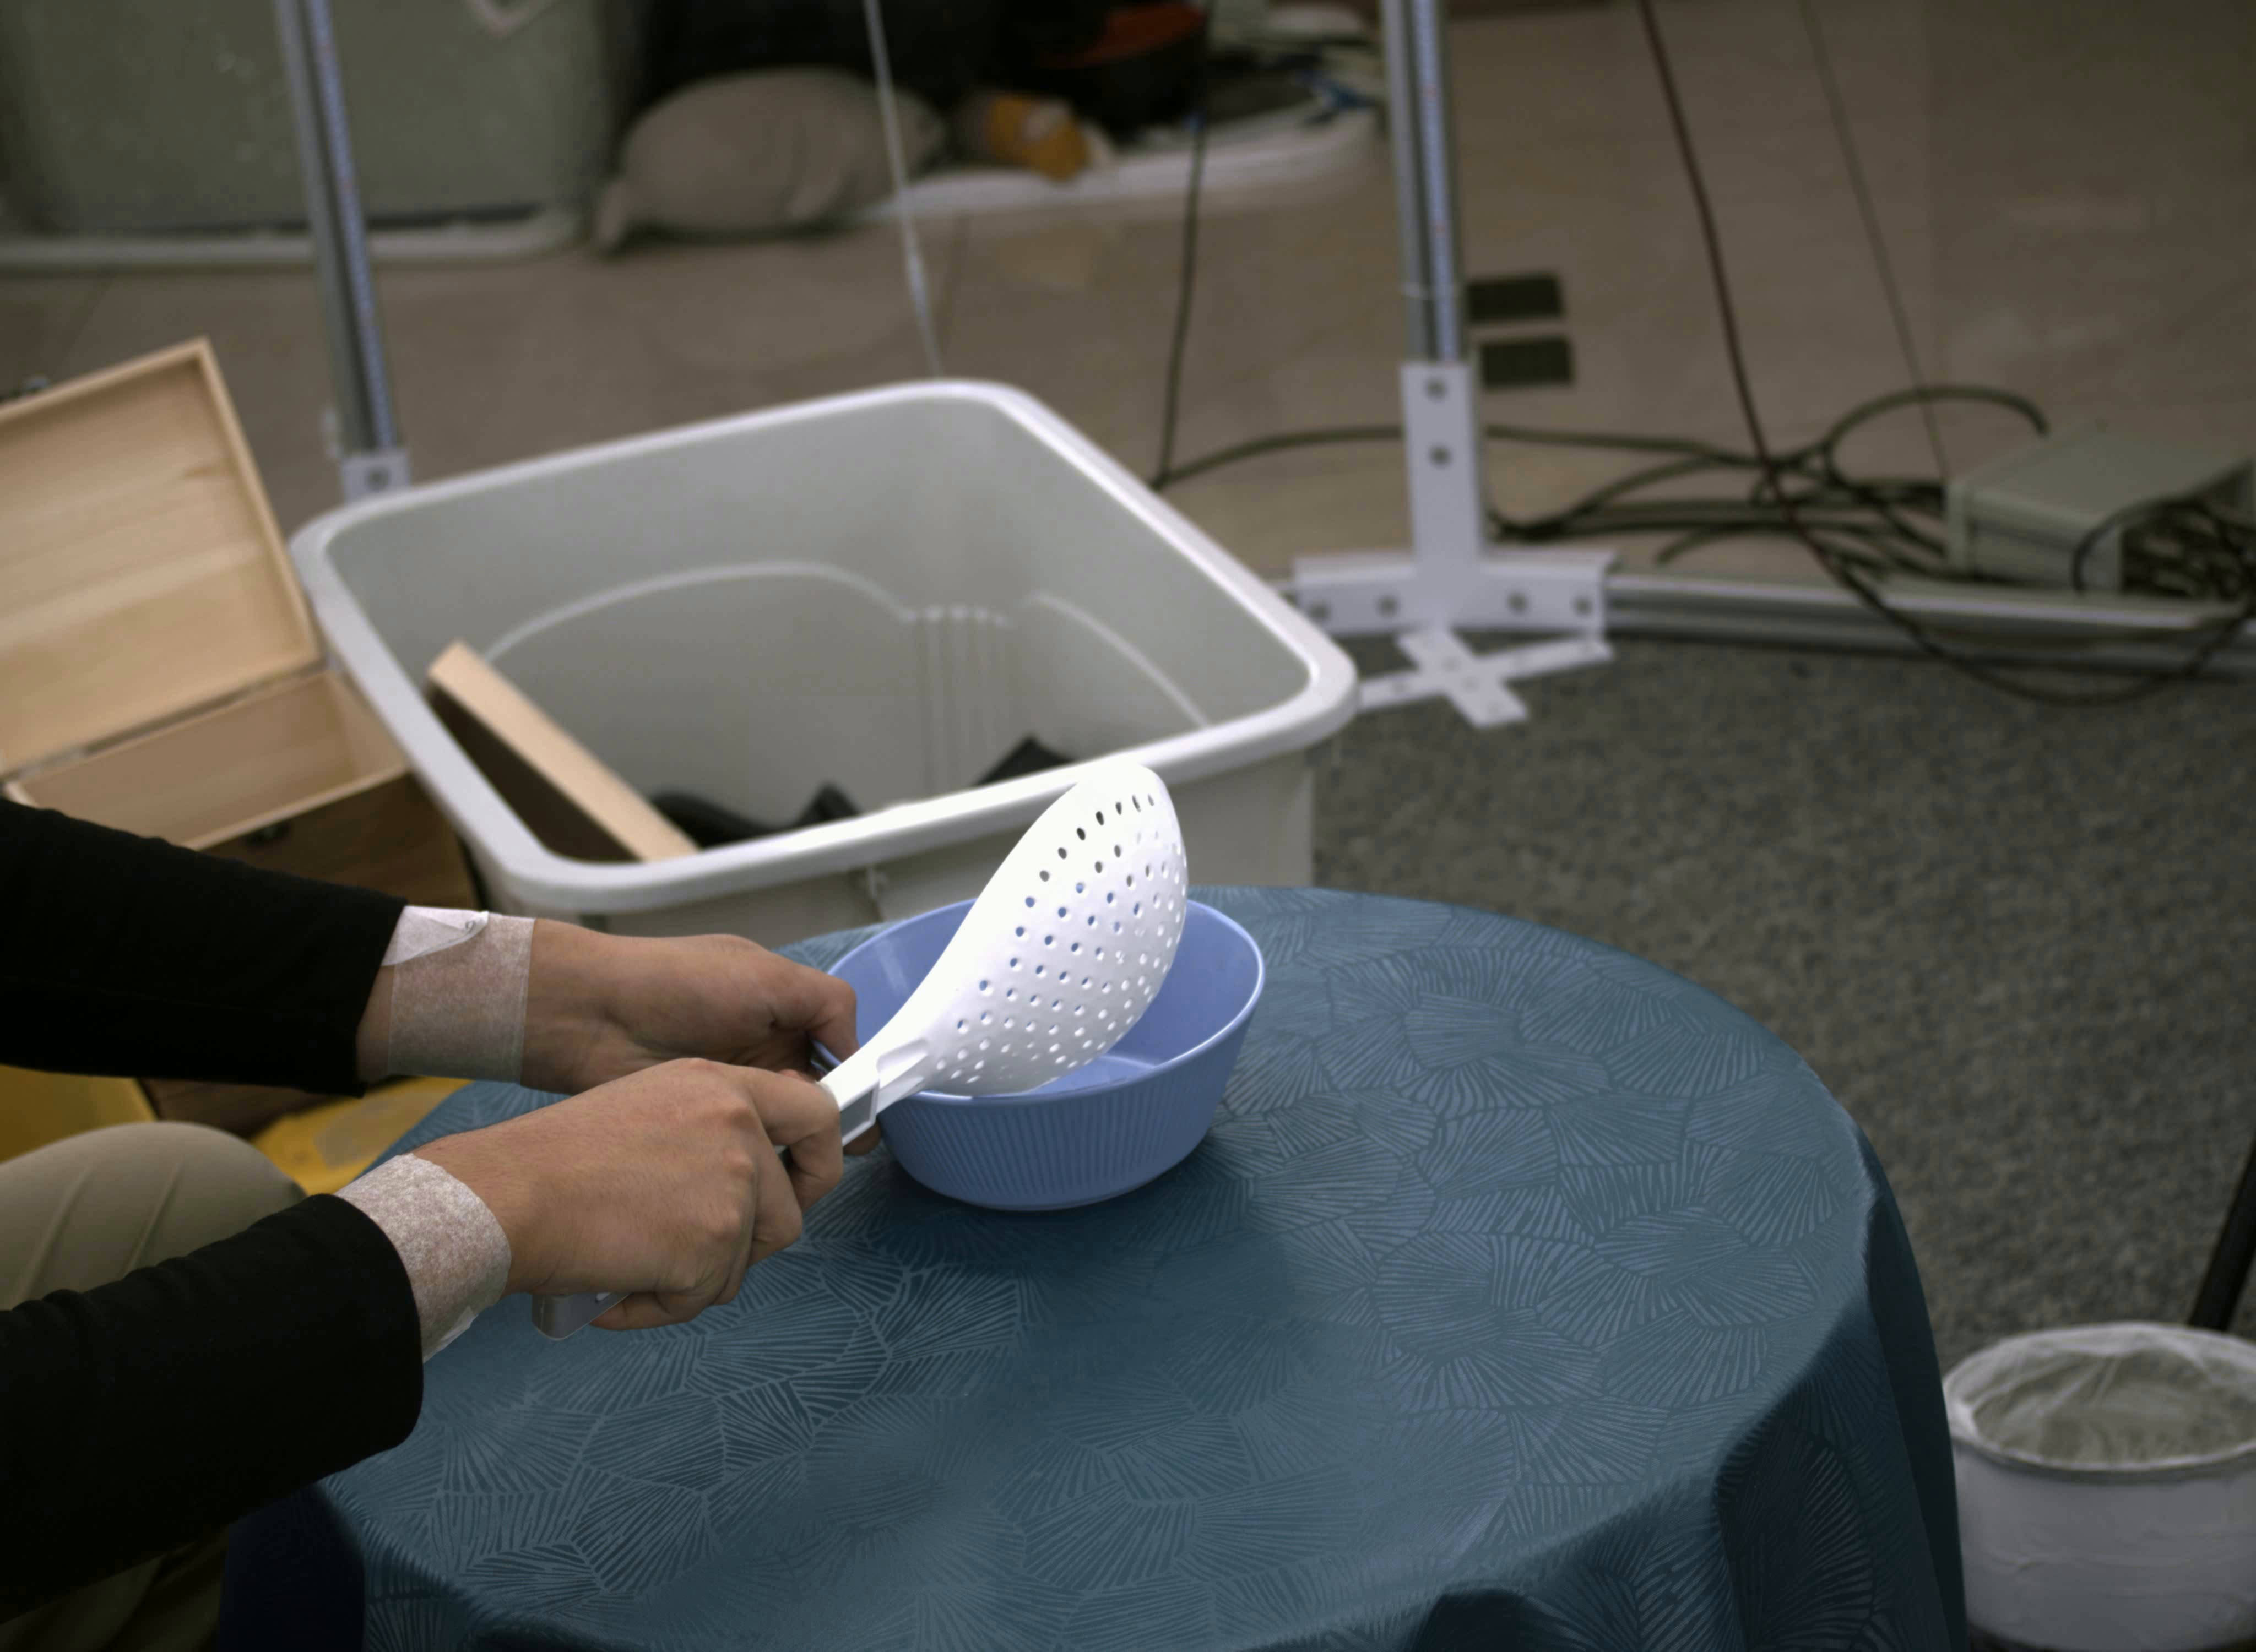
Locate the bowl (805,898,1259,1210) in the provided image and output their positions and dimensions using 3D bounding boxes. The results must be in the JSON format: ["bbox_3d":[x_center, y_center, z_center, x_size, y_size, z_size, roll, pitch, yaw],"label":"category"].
[{"bbox_3d":[-0.033,0.091,2.173,0.176,0.071,0.173,-6,26,3],"label":"bowl"}]

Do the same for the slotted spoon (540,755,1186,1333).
[{"bbox_3d":[-0.086,0.085,2.005,0.045,0.138,0.346,32,44,30],"label":"slotted spoon"}]
